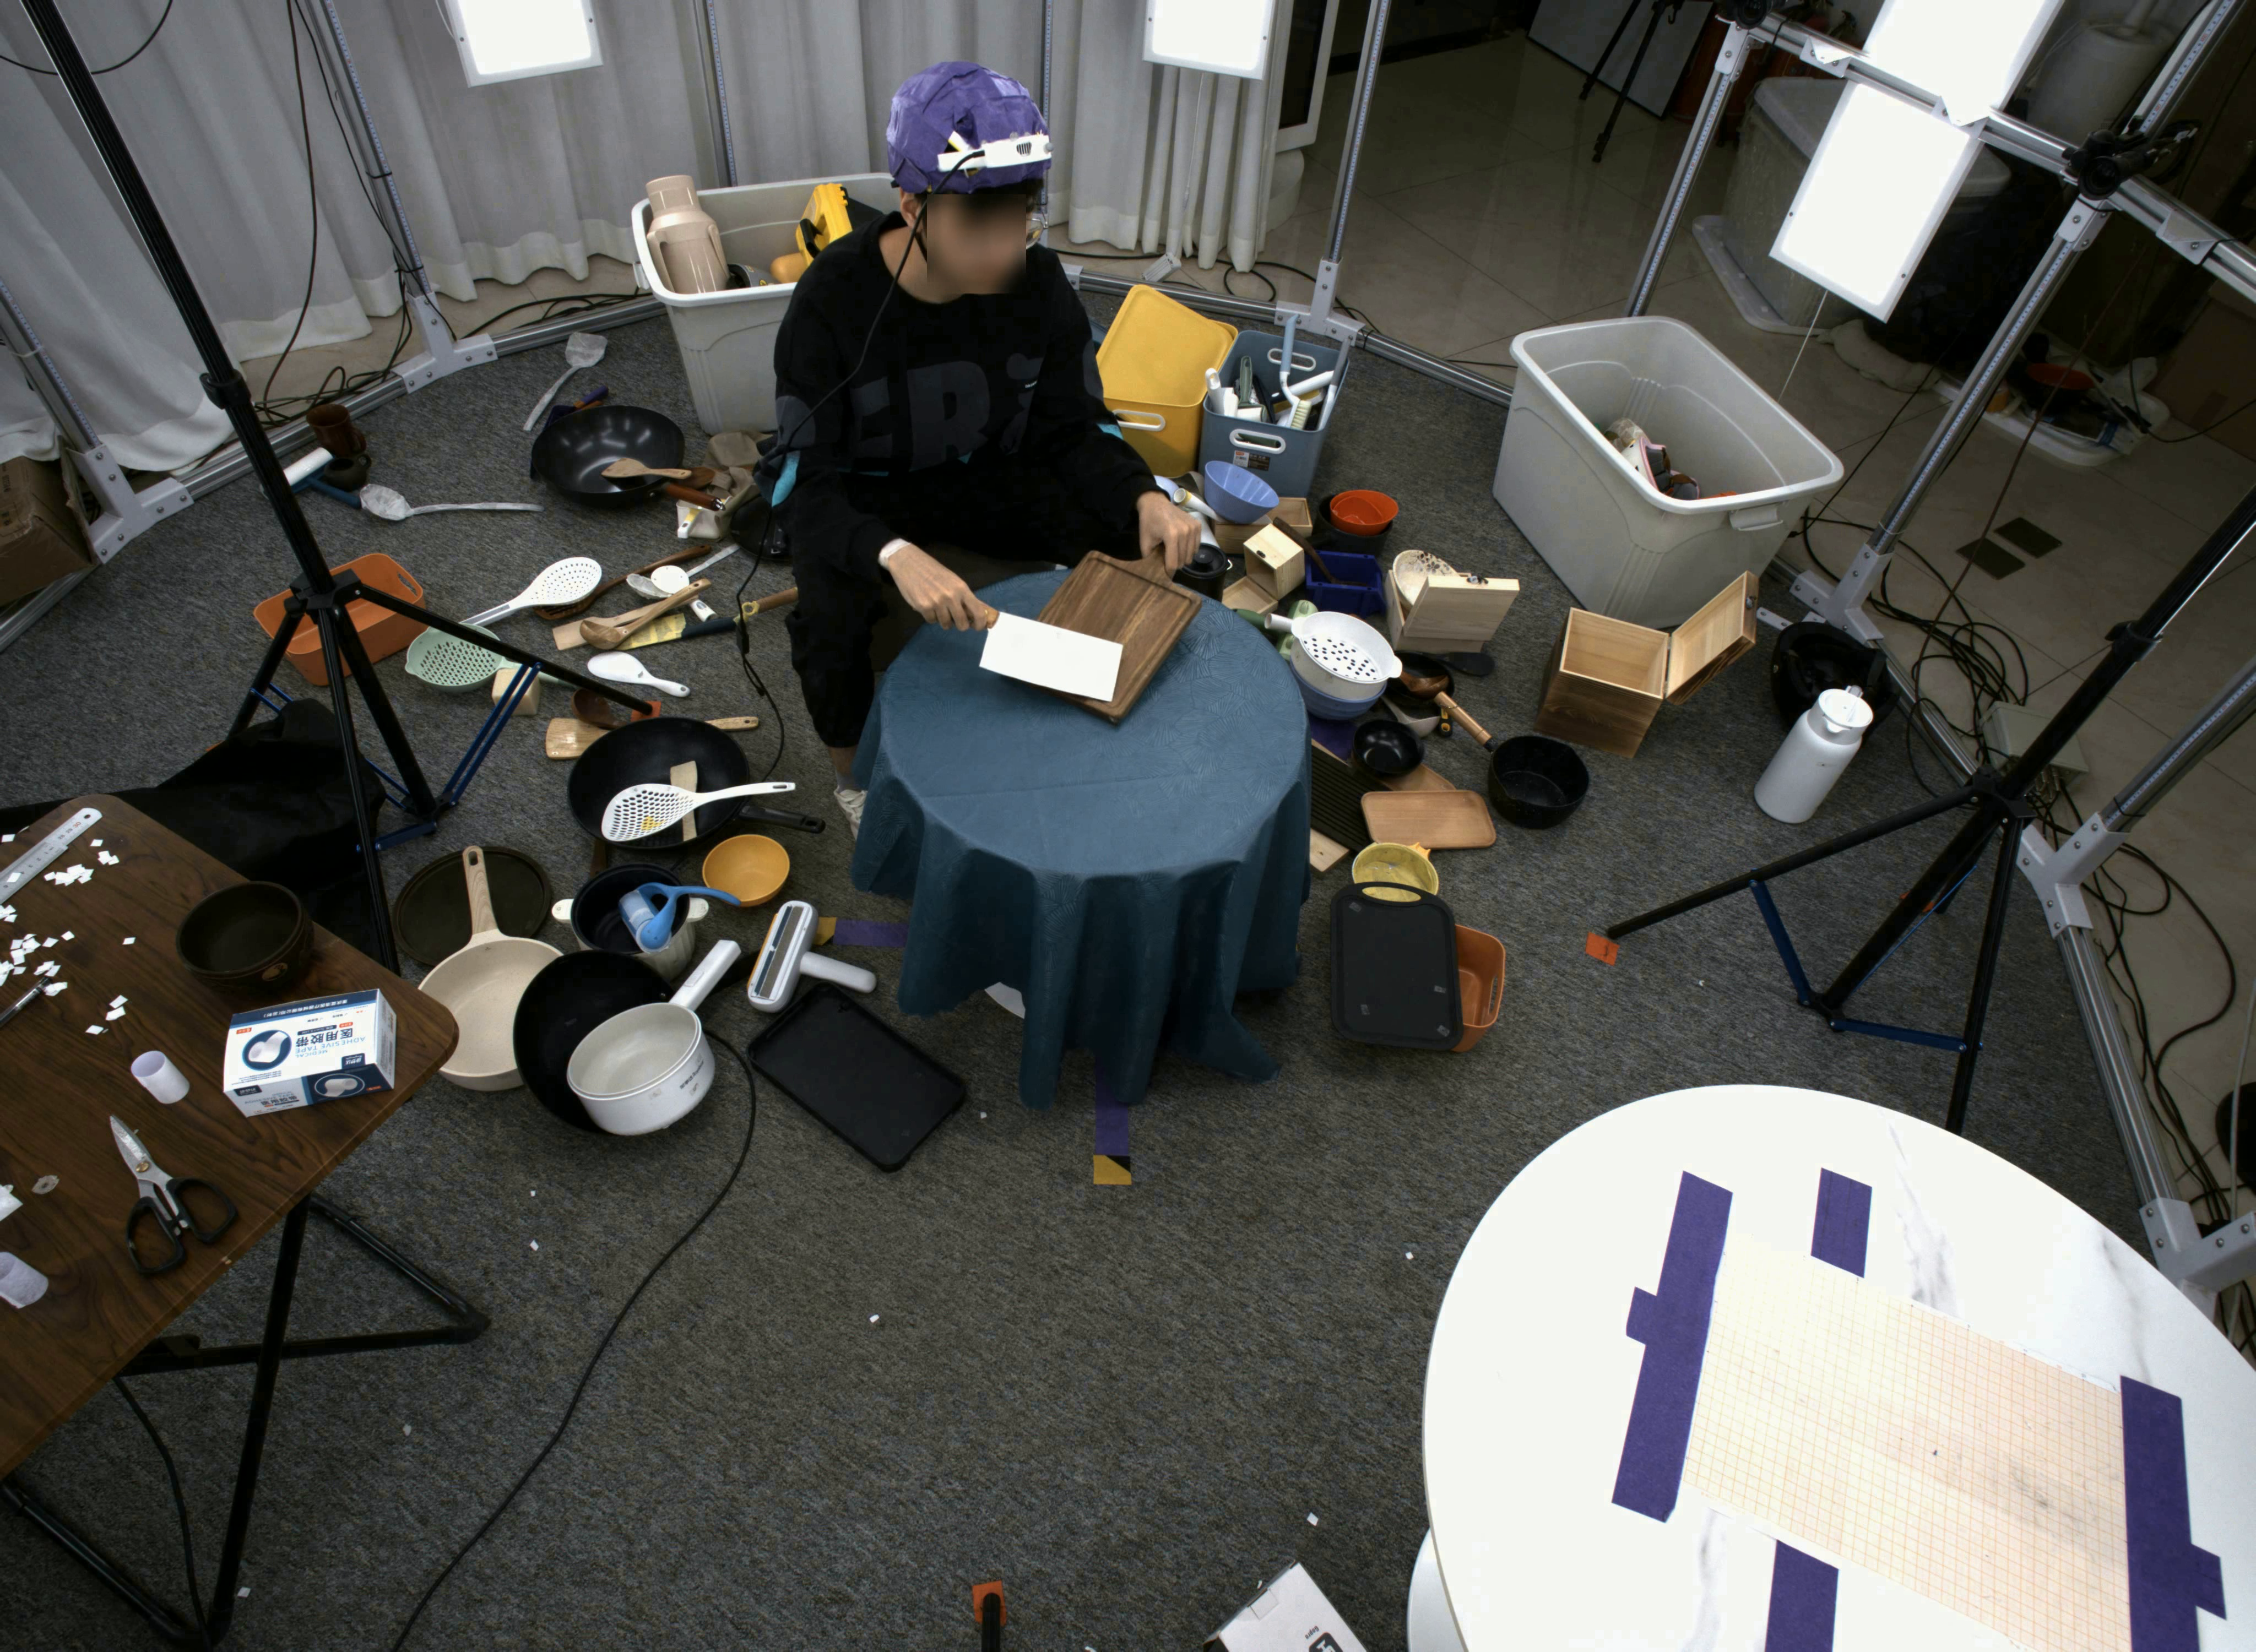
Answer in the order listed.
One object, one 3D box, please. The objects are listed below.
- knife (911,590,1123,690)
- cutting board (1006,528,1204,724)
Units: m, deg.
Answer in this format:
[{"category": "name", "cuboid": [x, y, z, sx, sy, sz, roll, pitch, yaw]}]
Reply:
[{"category": "knife", "cuboid": [-0.156, -0.254, 1.789, 0.305, 0.021, 0.094, 14, 70, -8]}, {"category": "cutting board", "cuboid": [-0.006, -0.315, 1.890, 0.203, 0.022, 0.357, 25, 62, 17]}]
